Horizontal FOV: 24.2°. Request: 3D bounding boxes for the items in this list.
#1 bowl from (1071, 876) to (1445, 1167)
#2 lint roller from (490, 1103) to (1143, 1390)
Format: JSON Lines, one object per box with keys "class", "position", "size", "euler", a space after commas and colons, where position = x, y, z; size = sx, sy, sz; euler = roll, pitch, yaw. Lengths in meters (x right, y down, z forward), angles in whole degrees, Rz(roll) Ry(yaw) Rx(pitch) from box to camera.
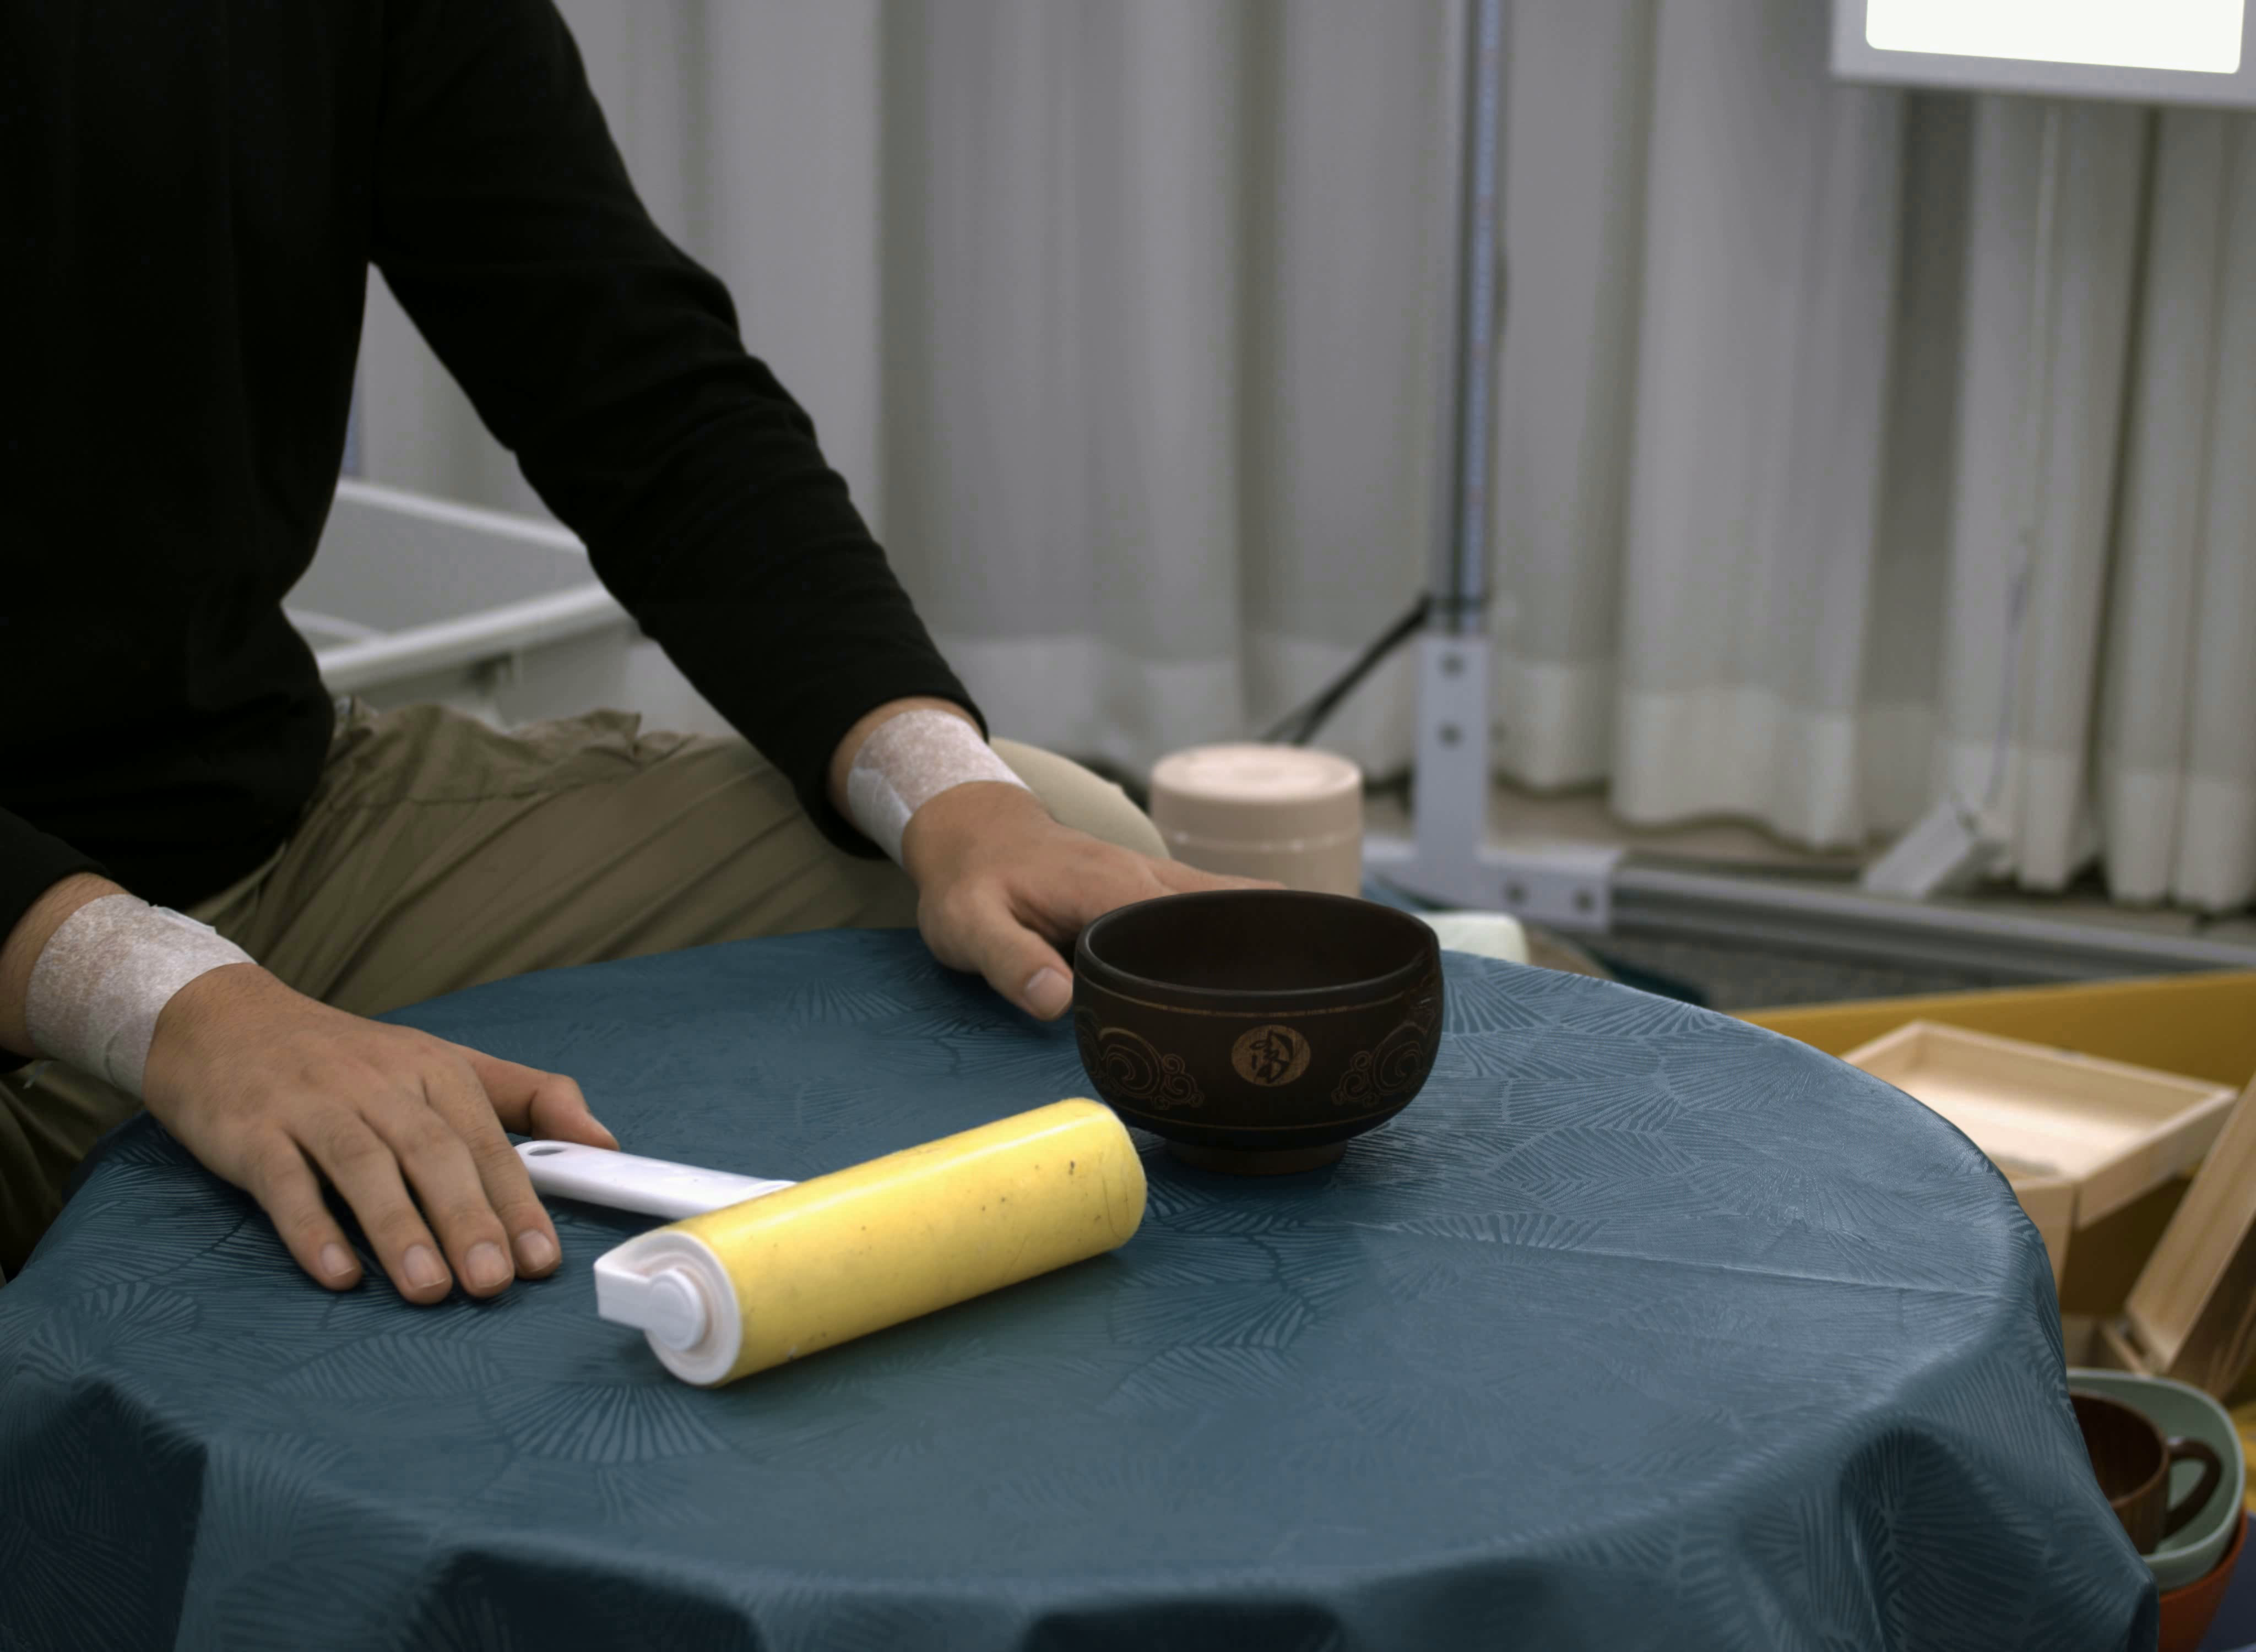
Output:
{"class": "bowl", "position": [0.040, 0.065, 1.652], "size": [0.117, 0.070, 0.117], "euler": [2, 16, 0]}
{"class": "lint roller", "position": [-0.120, 0.103, 1.553], "size": [0.189, 0.052, 0.175], "euler": [20, 24, 38]}
